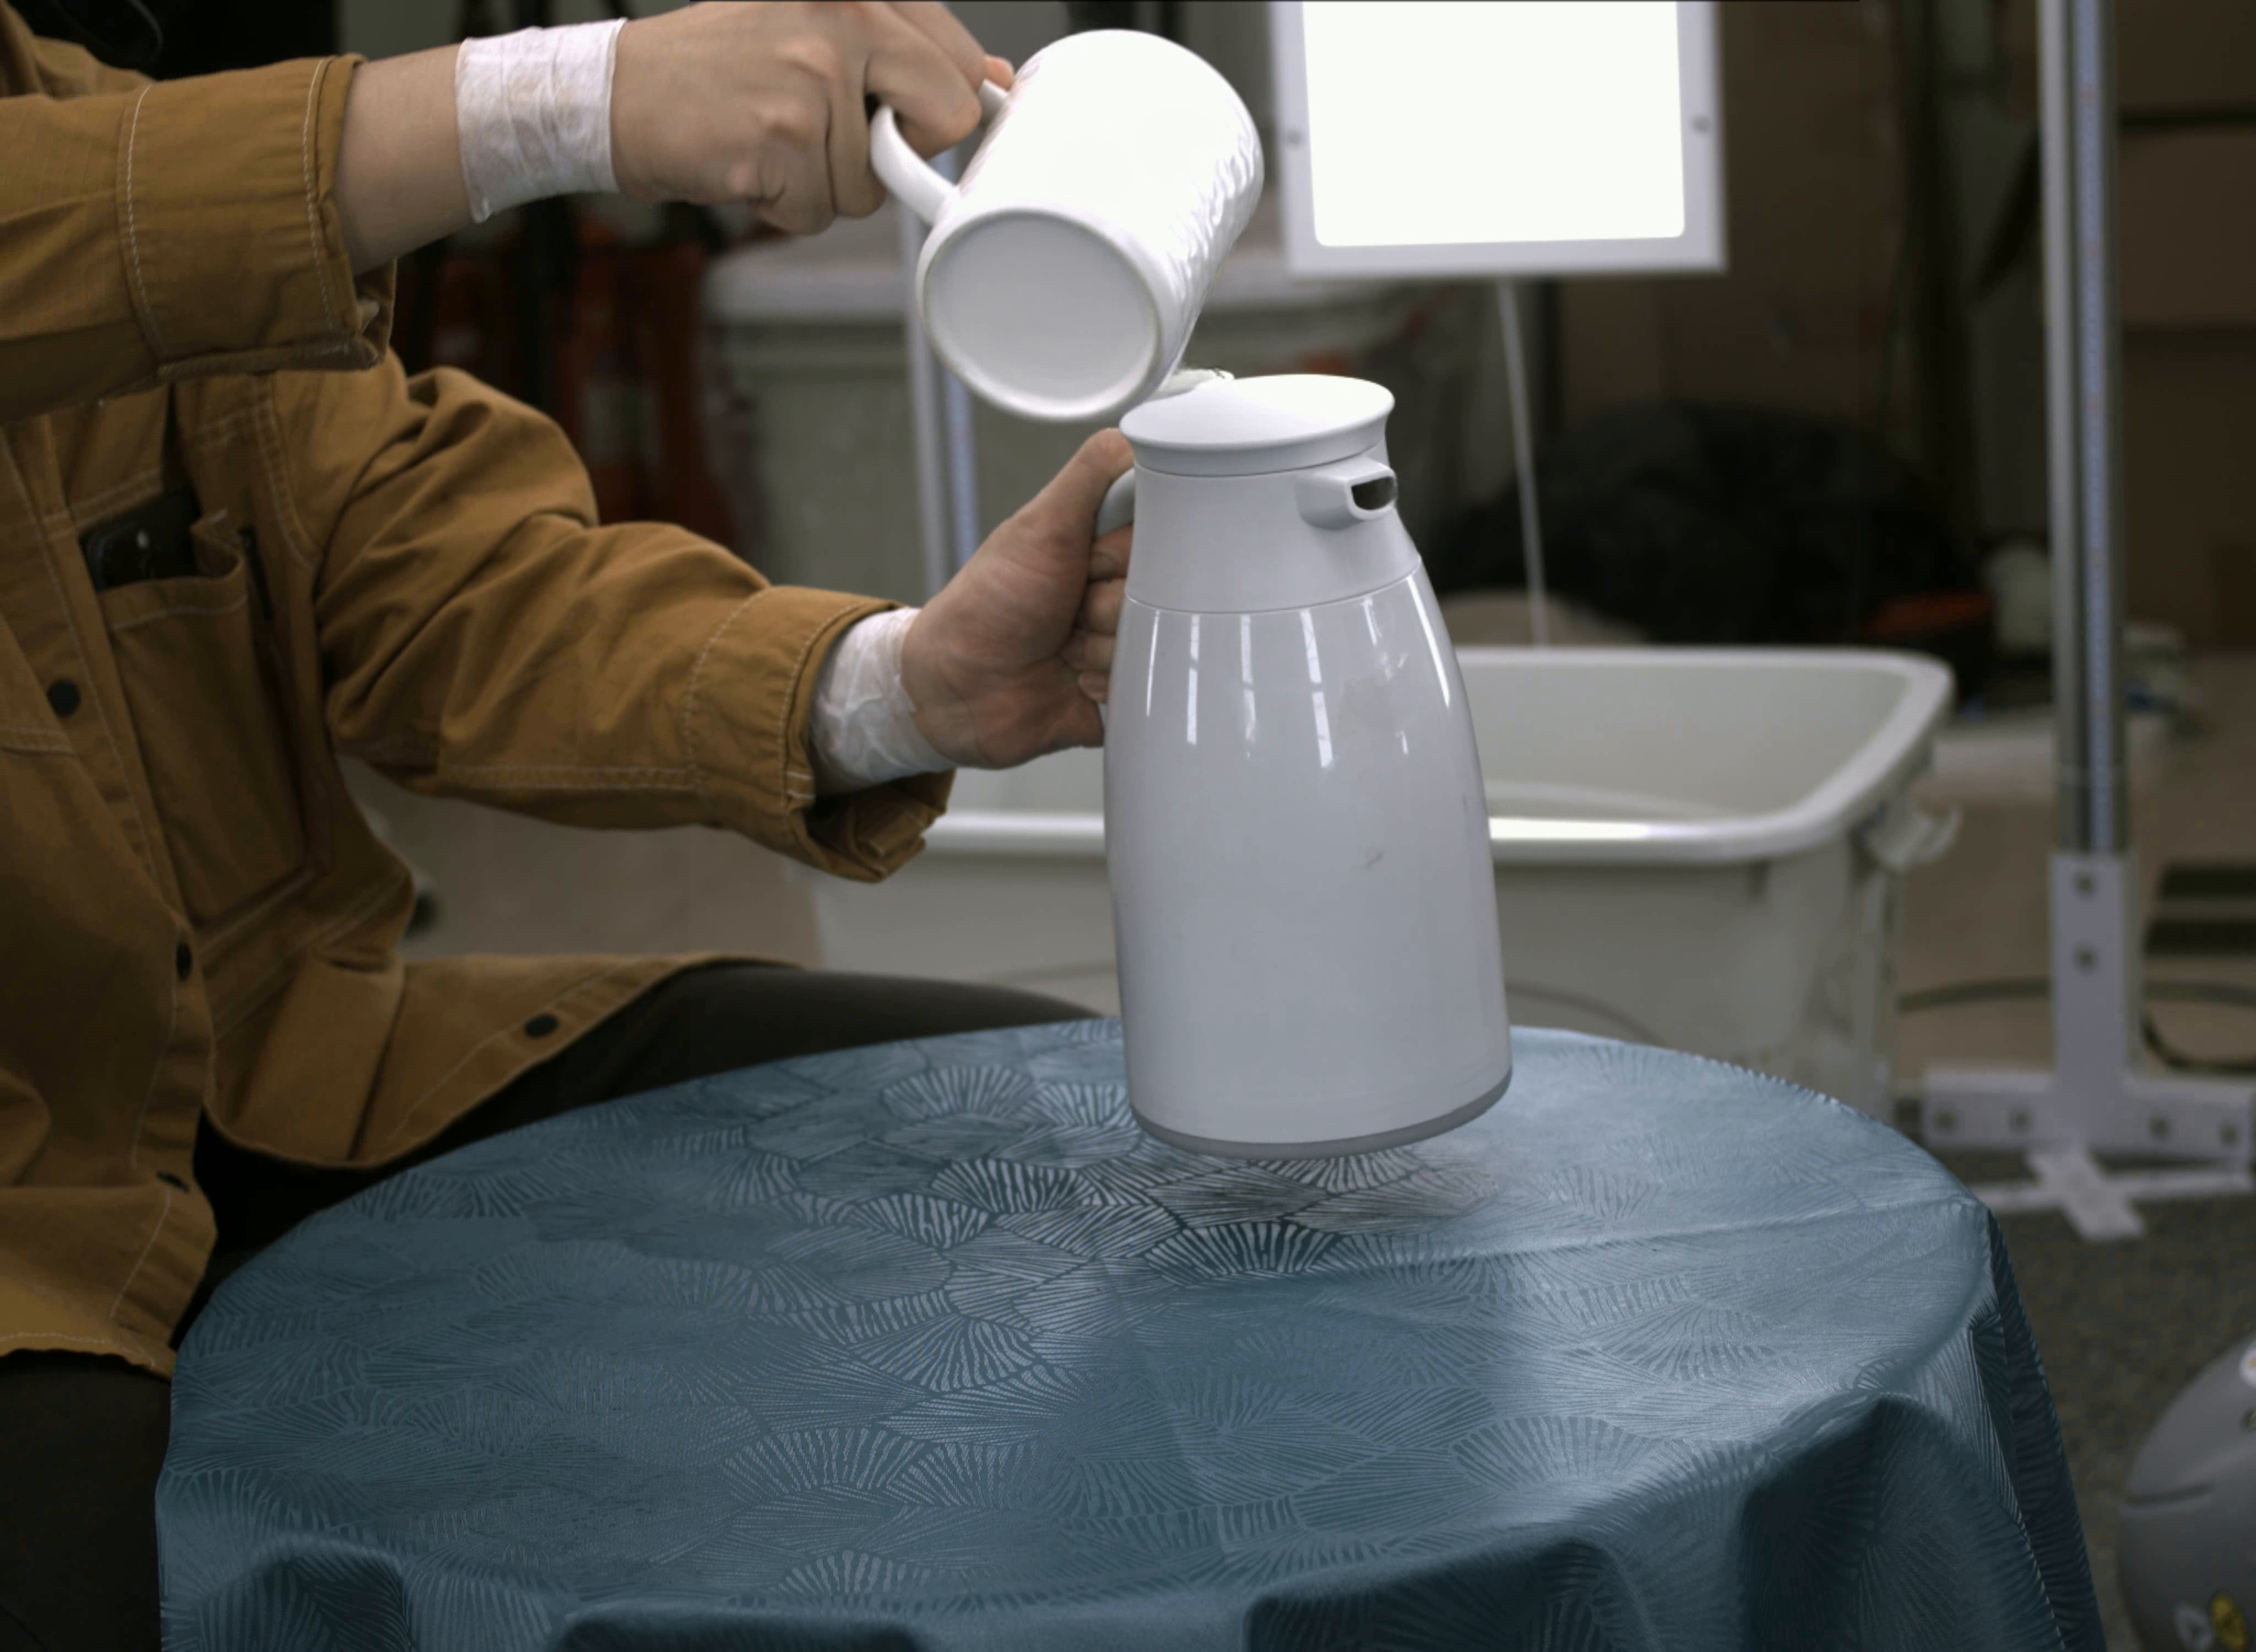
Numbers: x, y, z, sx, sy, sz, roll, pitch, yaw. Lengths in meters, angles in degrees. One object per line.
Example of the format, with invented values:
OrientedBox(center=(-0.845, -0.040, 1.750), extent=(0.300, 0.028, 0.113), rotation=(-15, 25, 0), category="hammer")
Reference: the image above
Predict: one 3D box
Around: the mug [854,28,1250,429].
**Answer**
OrientedBox(center=(-0.029, -0.189, 1.679), extent=(0.118, 0.086, 0.100), rotation=(30, 42, -4), category="mug")

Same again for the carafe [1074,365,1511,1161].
OrientedBox(center=(0.041, -0.030, 1.854), extent=(0.129, 0.249, 0.171), rotation=(-18, 20, -31), category="carafe")
